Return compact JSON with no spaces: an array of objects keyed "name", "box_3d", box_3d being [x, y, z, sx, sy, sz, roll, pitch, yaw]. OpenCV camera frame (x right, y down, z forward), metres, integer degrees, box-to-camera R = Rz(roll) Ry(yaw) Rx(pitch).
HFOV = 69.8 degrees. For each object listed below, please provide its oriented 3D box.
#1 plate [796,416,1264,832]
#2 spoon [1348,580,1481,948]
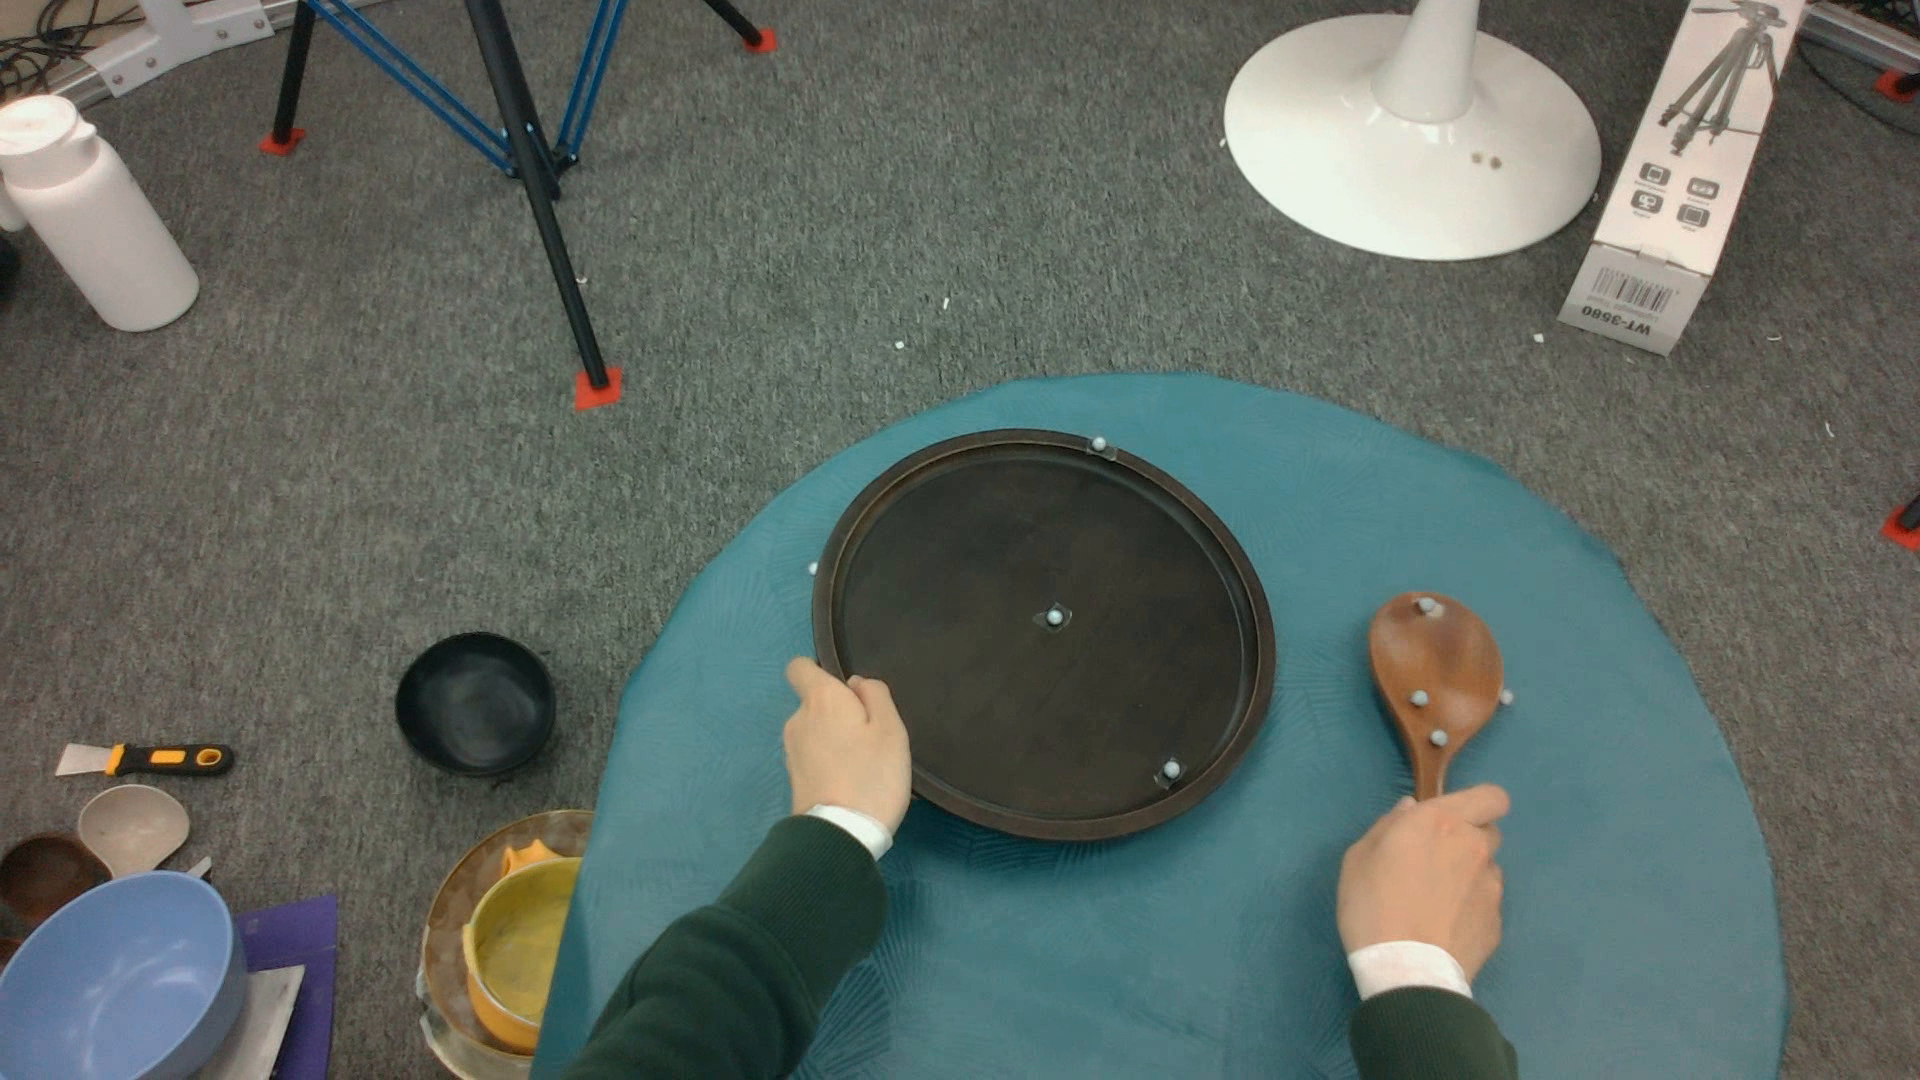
[{"name":"plate","box_3d":[0.039,0.038,0.744,0.255,0.029,0.256,4,55,-6]},{"name":"spoon","box_3d":[0.231,0.108,0.709,0.075,0.017,0.217,16,51,1]}]
